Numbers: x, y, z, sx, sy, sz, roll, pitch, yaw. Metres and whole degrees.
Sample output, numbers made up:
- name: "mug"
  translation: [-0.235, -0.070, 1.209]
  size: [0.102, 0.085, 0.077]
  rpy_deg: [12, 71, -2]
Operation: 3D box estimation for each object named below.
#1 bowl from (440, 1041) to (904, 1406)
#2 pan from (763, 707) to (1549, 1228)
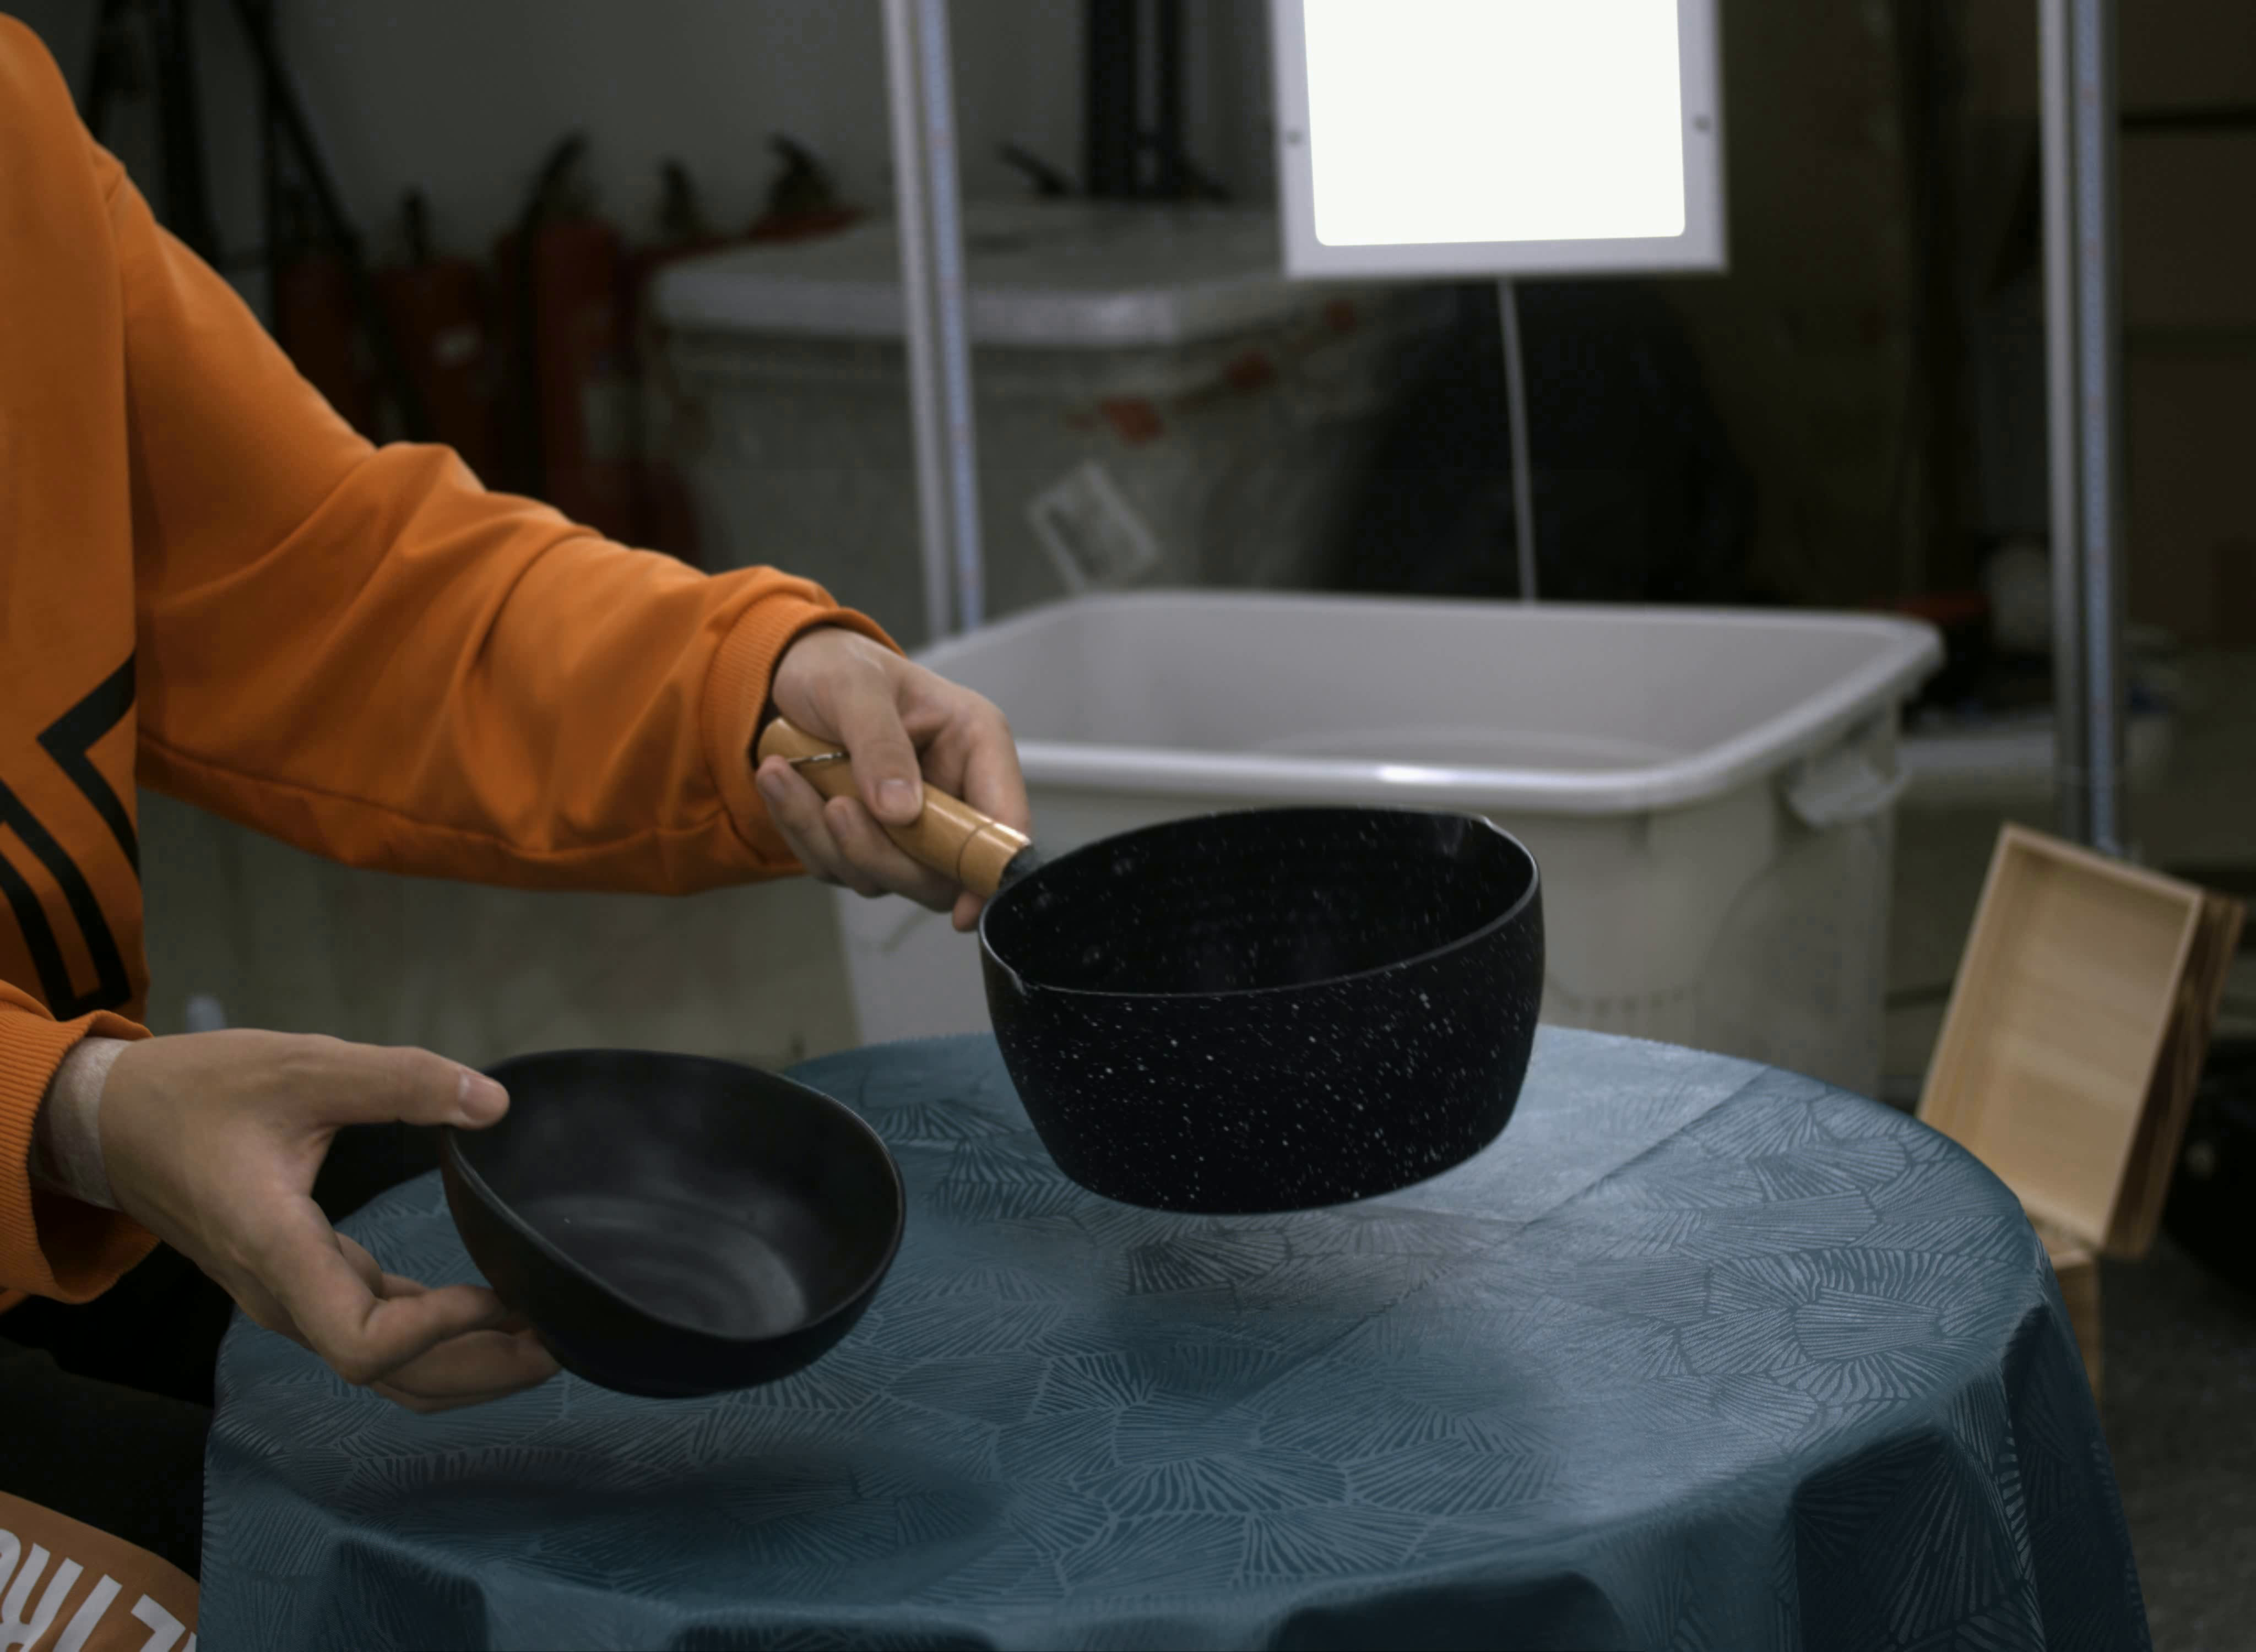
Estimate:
- name: "bowl"
  translation: [-0.139, 0.128, 1.653]
  size: [0.134, 0.067, 0.172]
  rpy_deg: [-2, 28, -24]
- name: "pan"
  translation: [-0.008, 0.039, 1.848]
  size: [0.202, 0.108, 0.350]
  rpy_deg: [-22, 24, -37]
